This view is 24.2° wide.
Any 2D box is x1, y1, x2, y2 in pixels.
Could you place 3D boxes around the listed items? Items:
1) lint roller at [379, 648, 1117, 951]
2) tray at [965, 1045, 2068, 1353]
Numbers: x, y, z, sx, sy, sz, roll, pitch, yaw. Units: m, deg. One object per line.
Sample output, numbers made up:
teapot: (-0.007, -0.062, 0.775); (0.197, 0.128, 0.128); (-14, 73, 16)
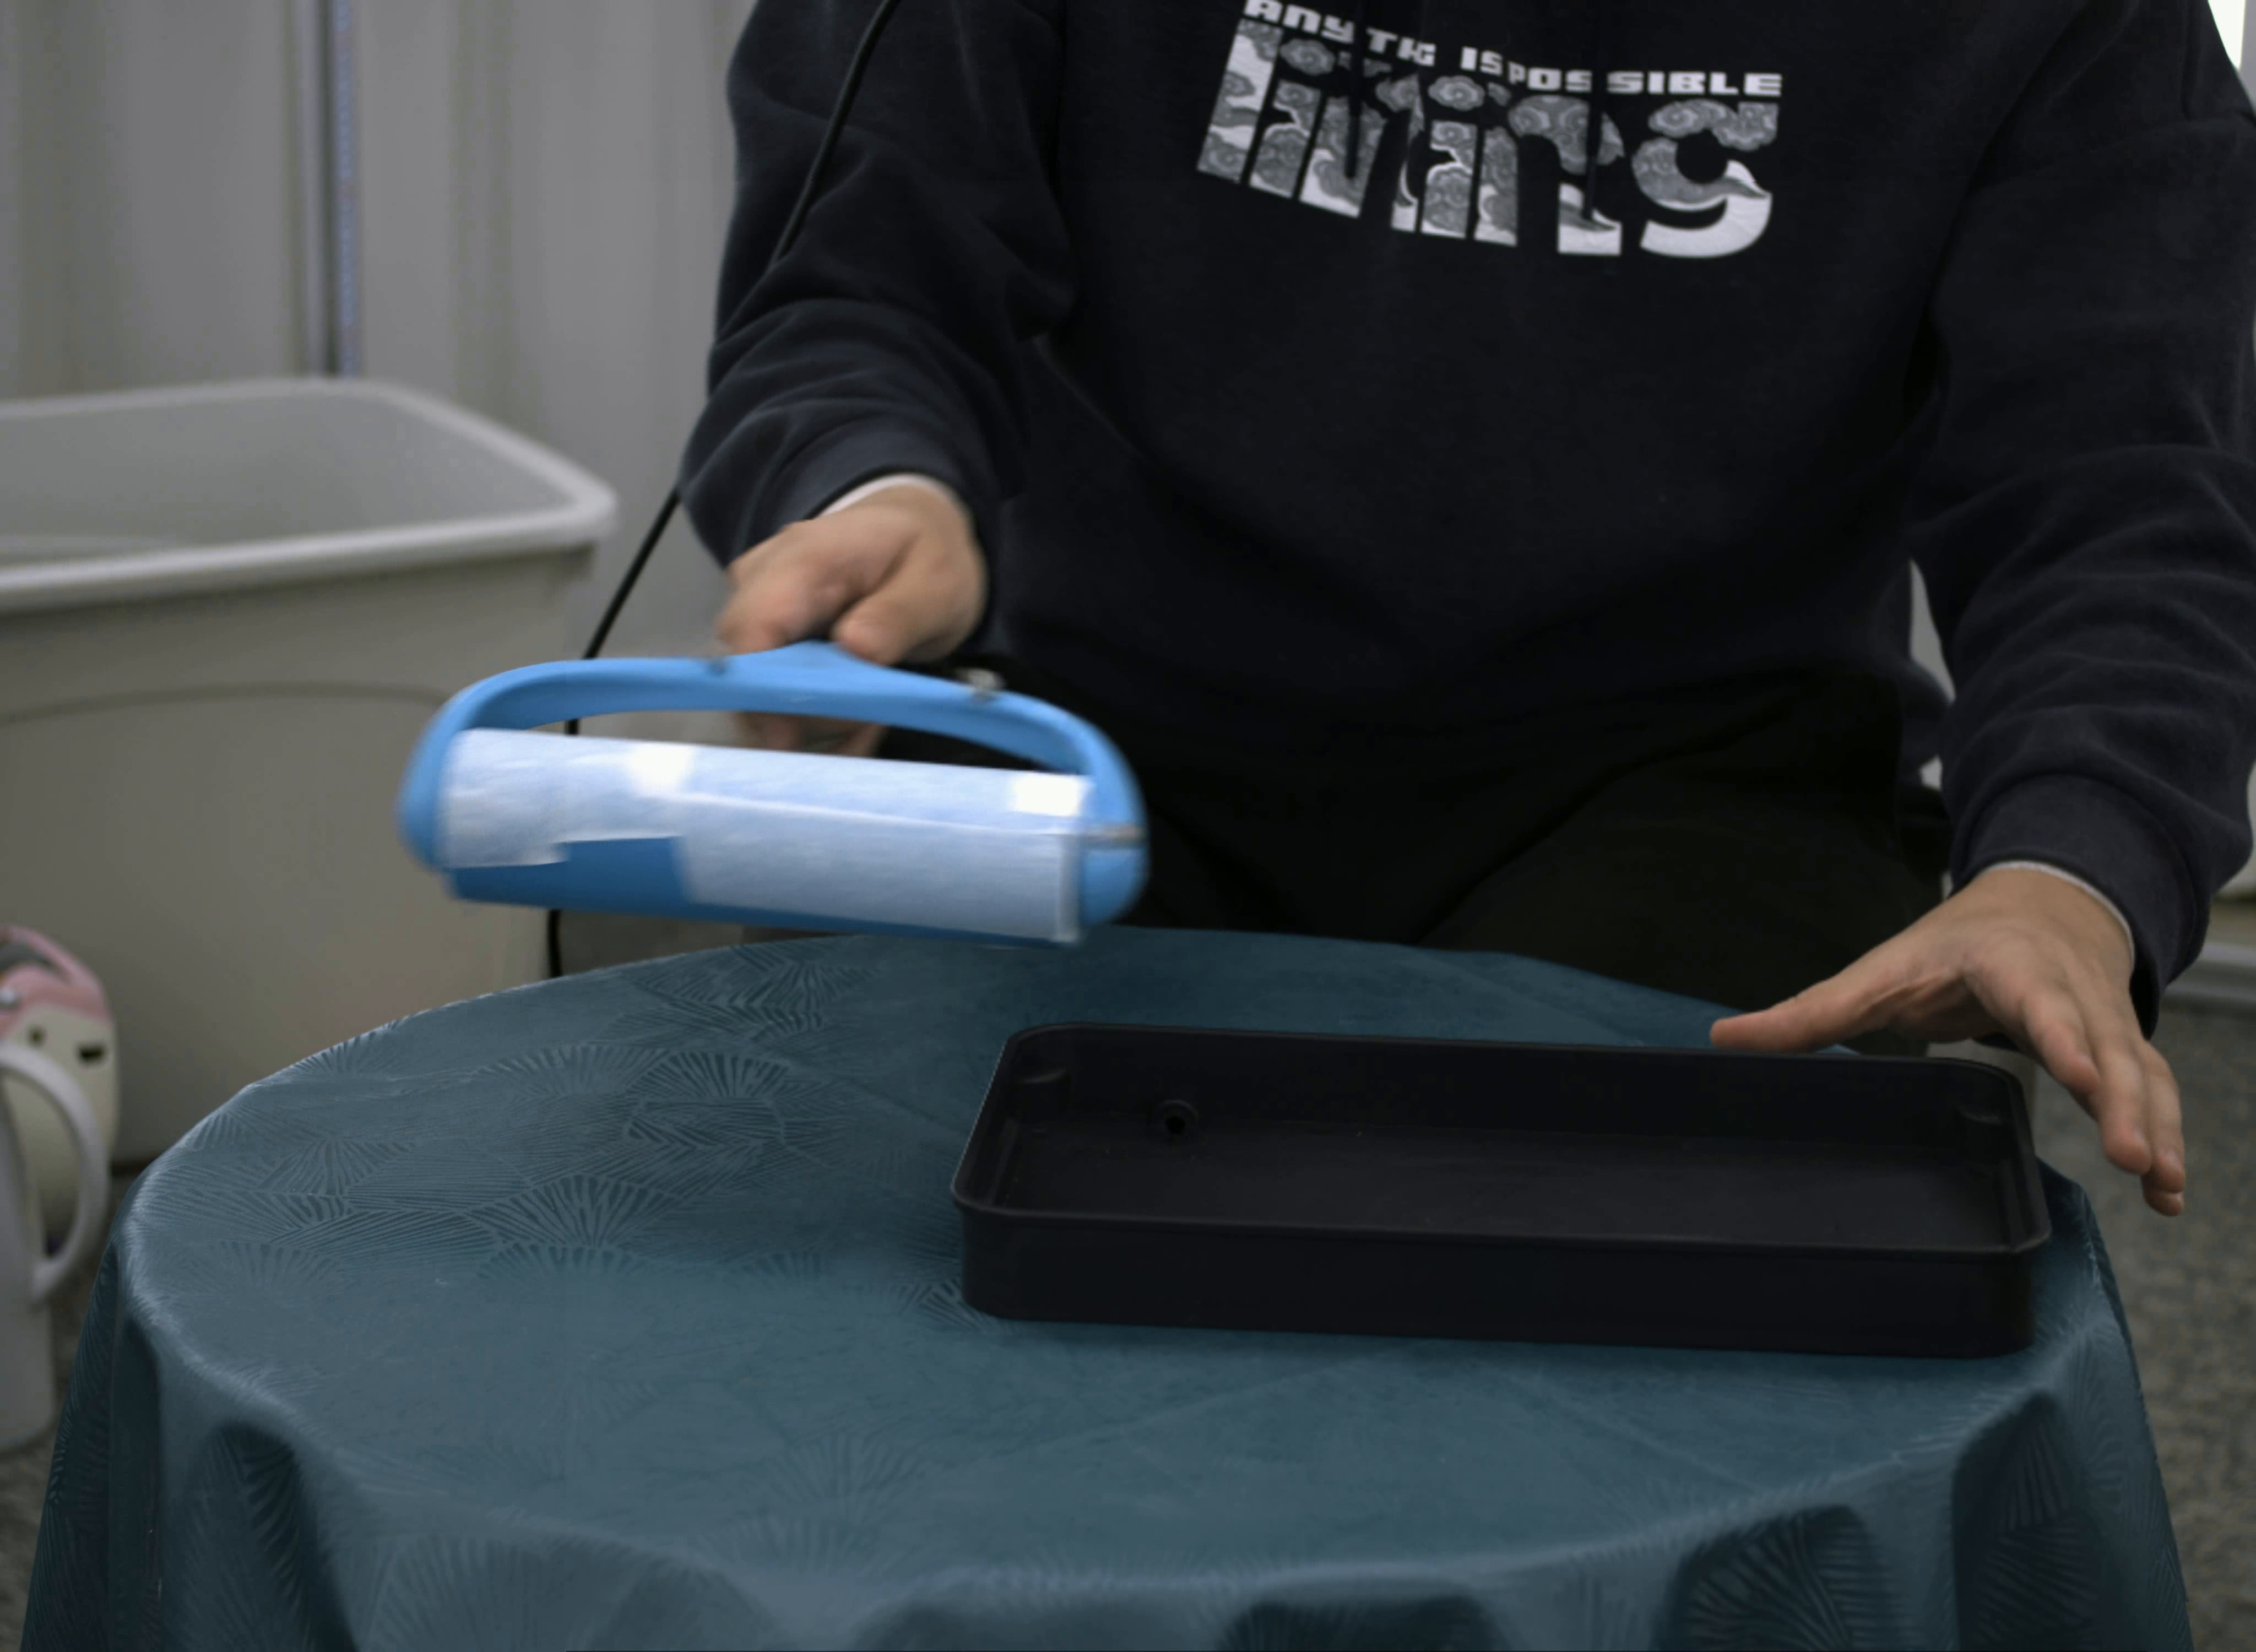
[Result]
lint roller: (-0.110, -0.023, 1.655); (0.228, 0.068, 0.179); (1, 29, 6)
tray: (0.117, 0.110, 1.586); (0.316, 0.037, 0.183); (-1, 15, 4)
